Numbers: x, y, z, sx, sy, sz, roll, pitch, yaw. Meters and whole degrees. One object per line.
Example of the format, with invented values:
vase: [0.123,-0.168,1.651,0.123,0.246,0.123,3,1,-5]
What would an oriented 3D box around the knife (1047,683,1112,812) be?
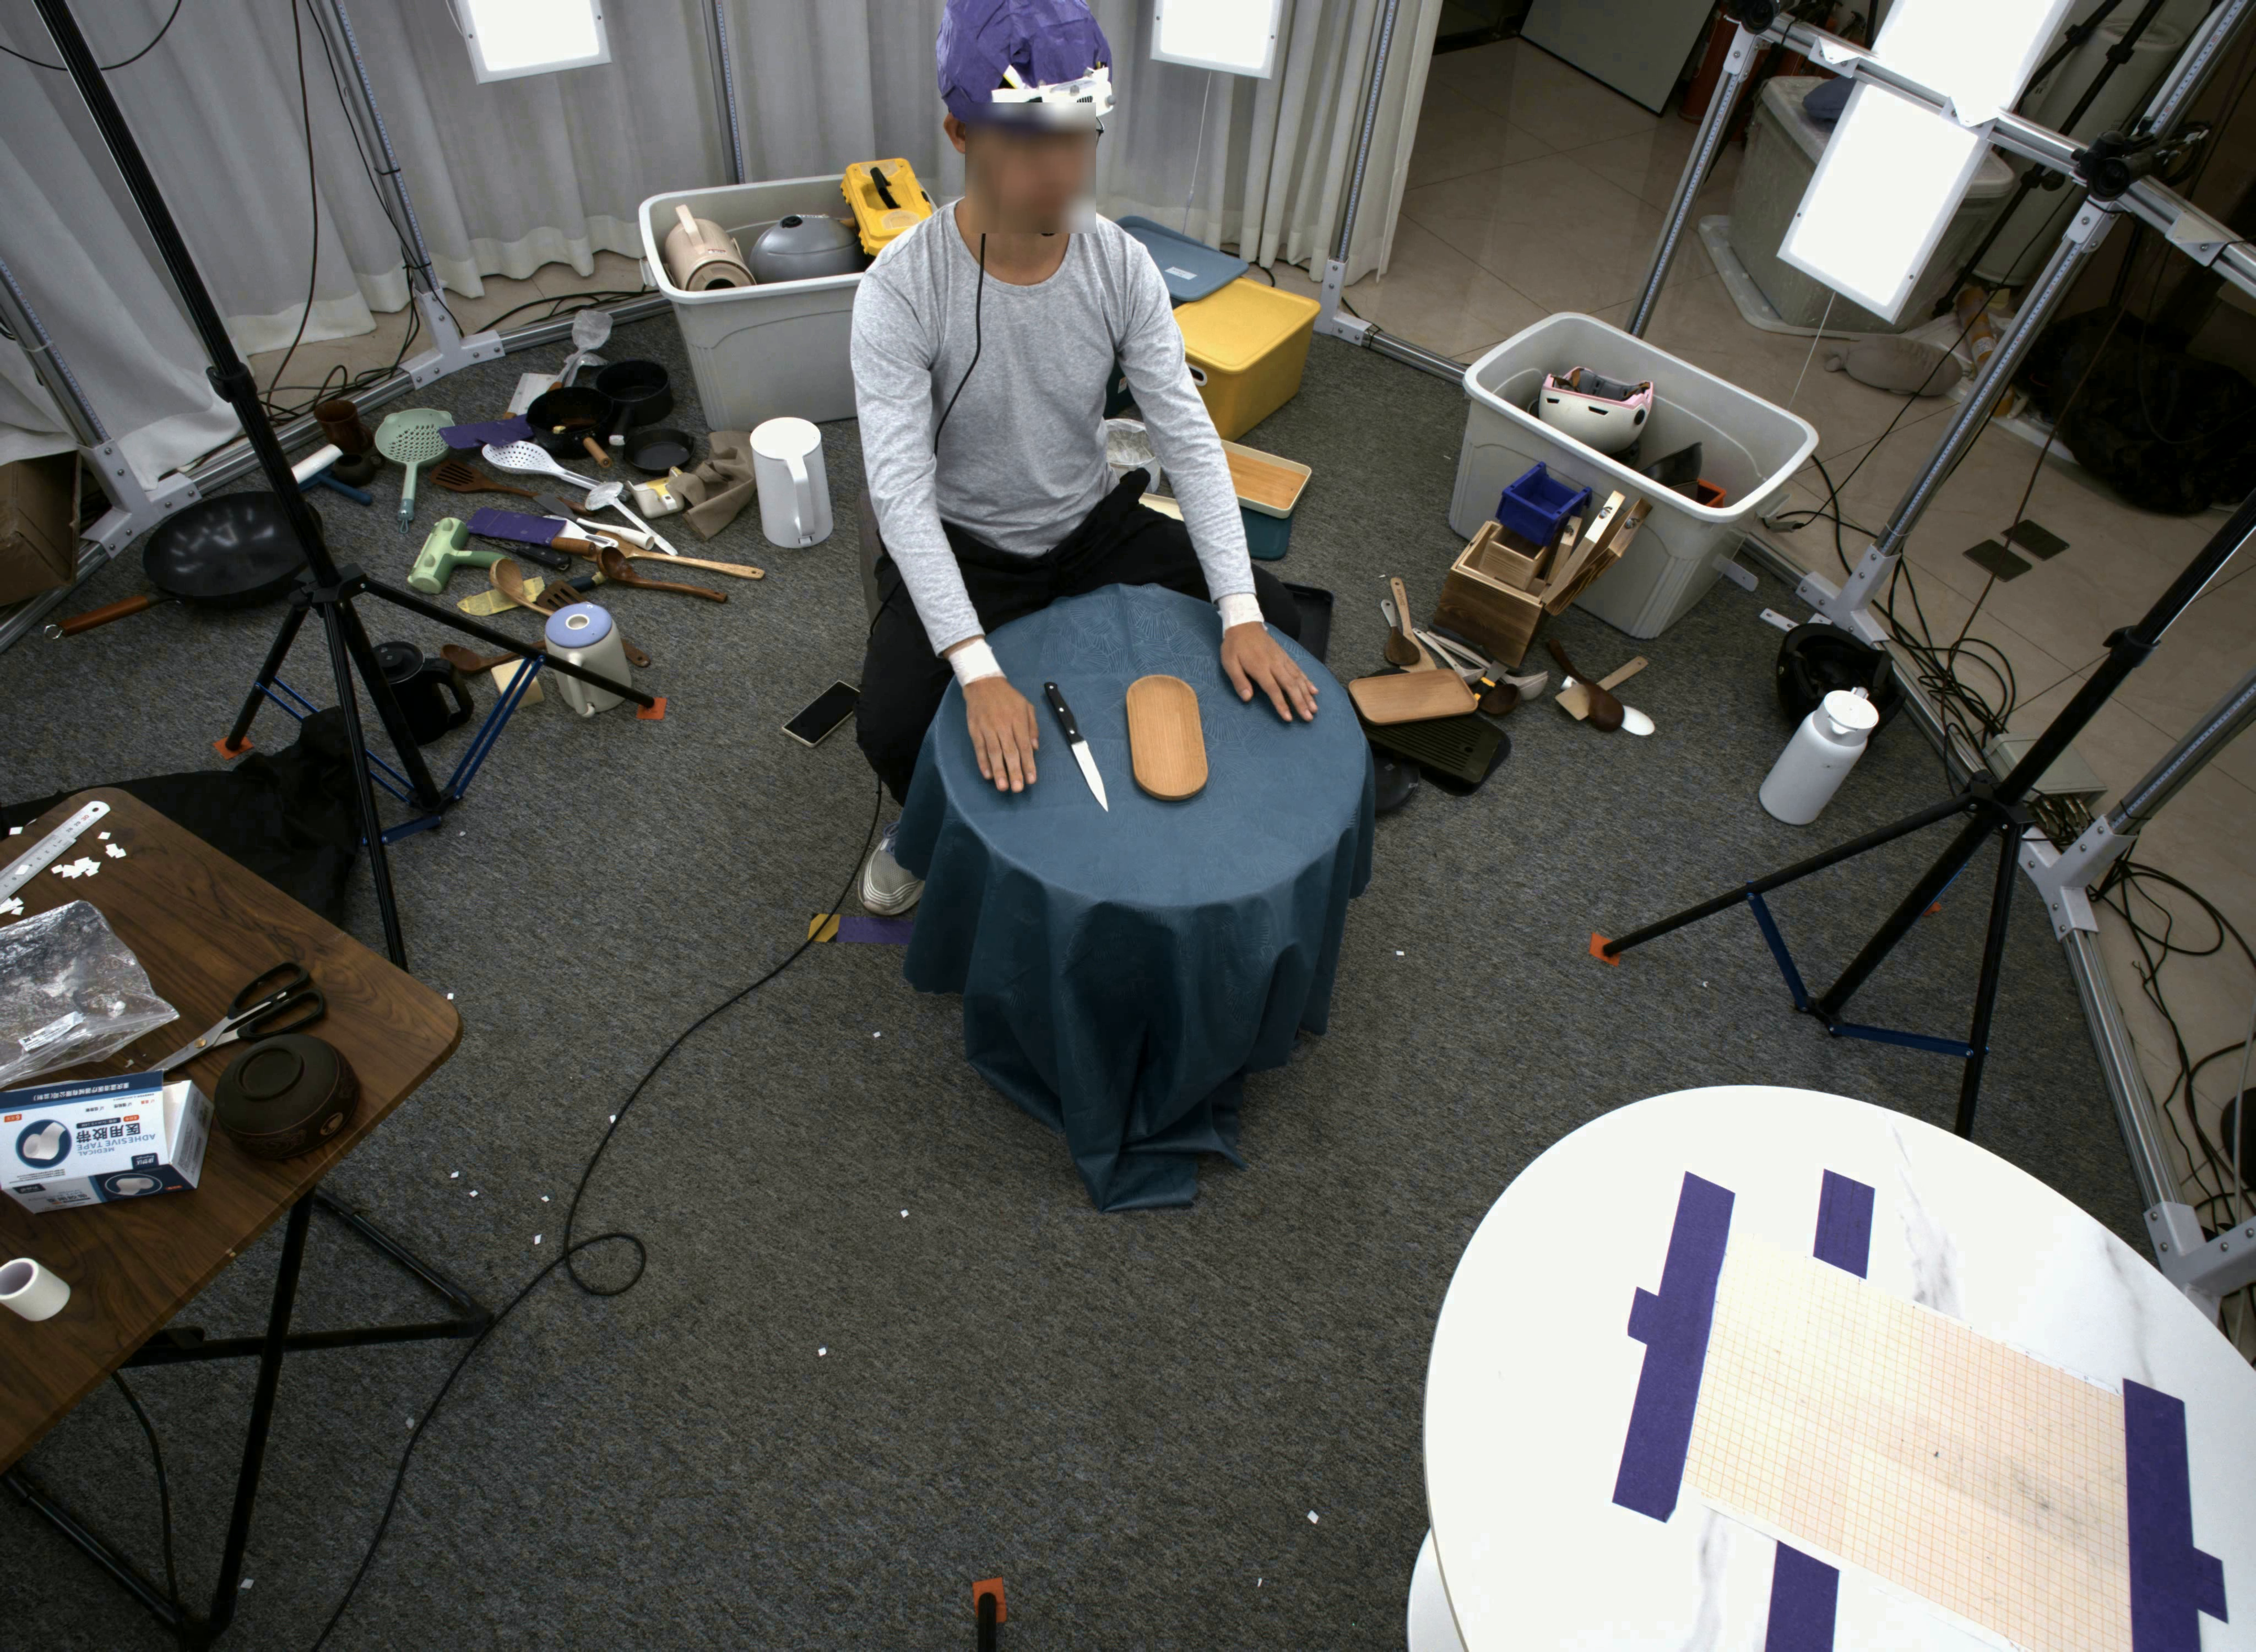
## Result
knife: [-0.068,-0.108,1.749,0.024,0.016,0.244,-13,54,-17]

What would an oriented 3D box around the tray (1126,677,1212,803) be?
tray: [0.055,-0.121,1.766,0.101,0.020,0.237,-3,51,-5]
